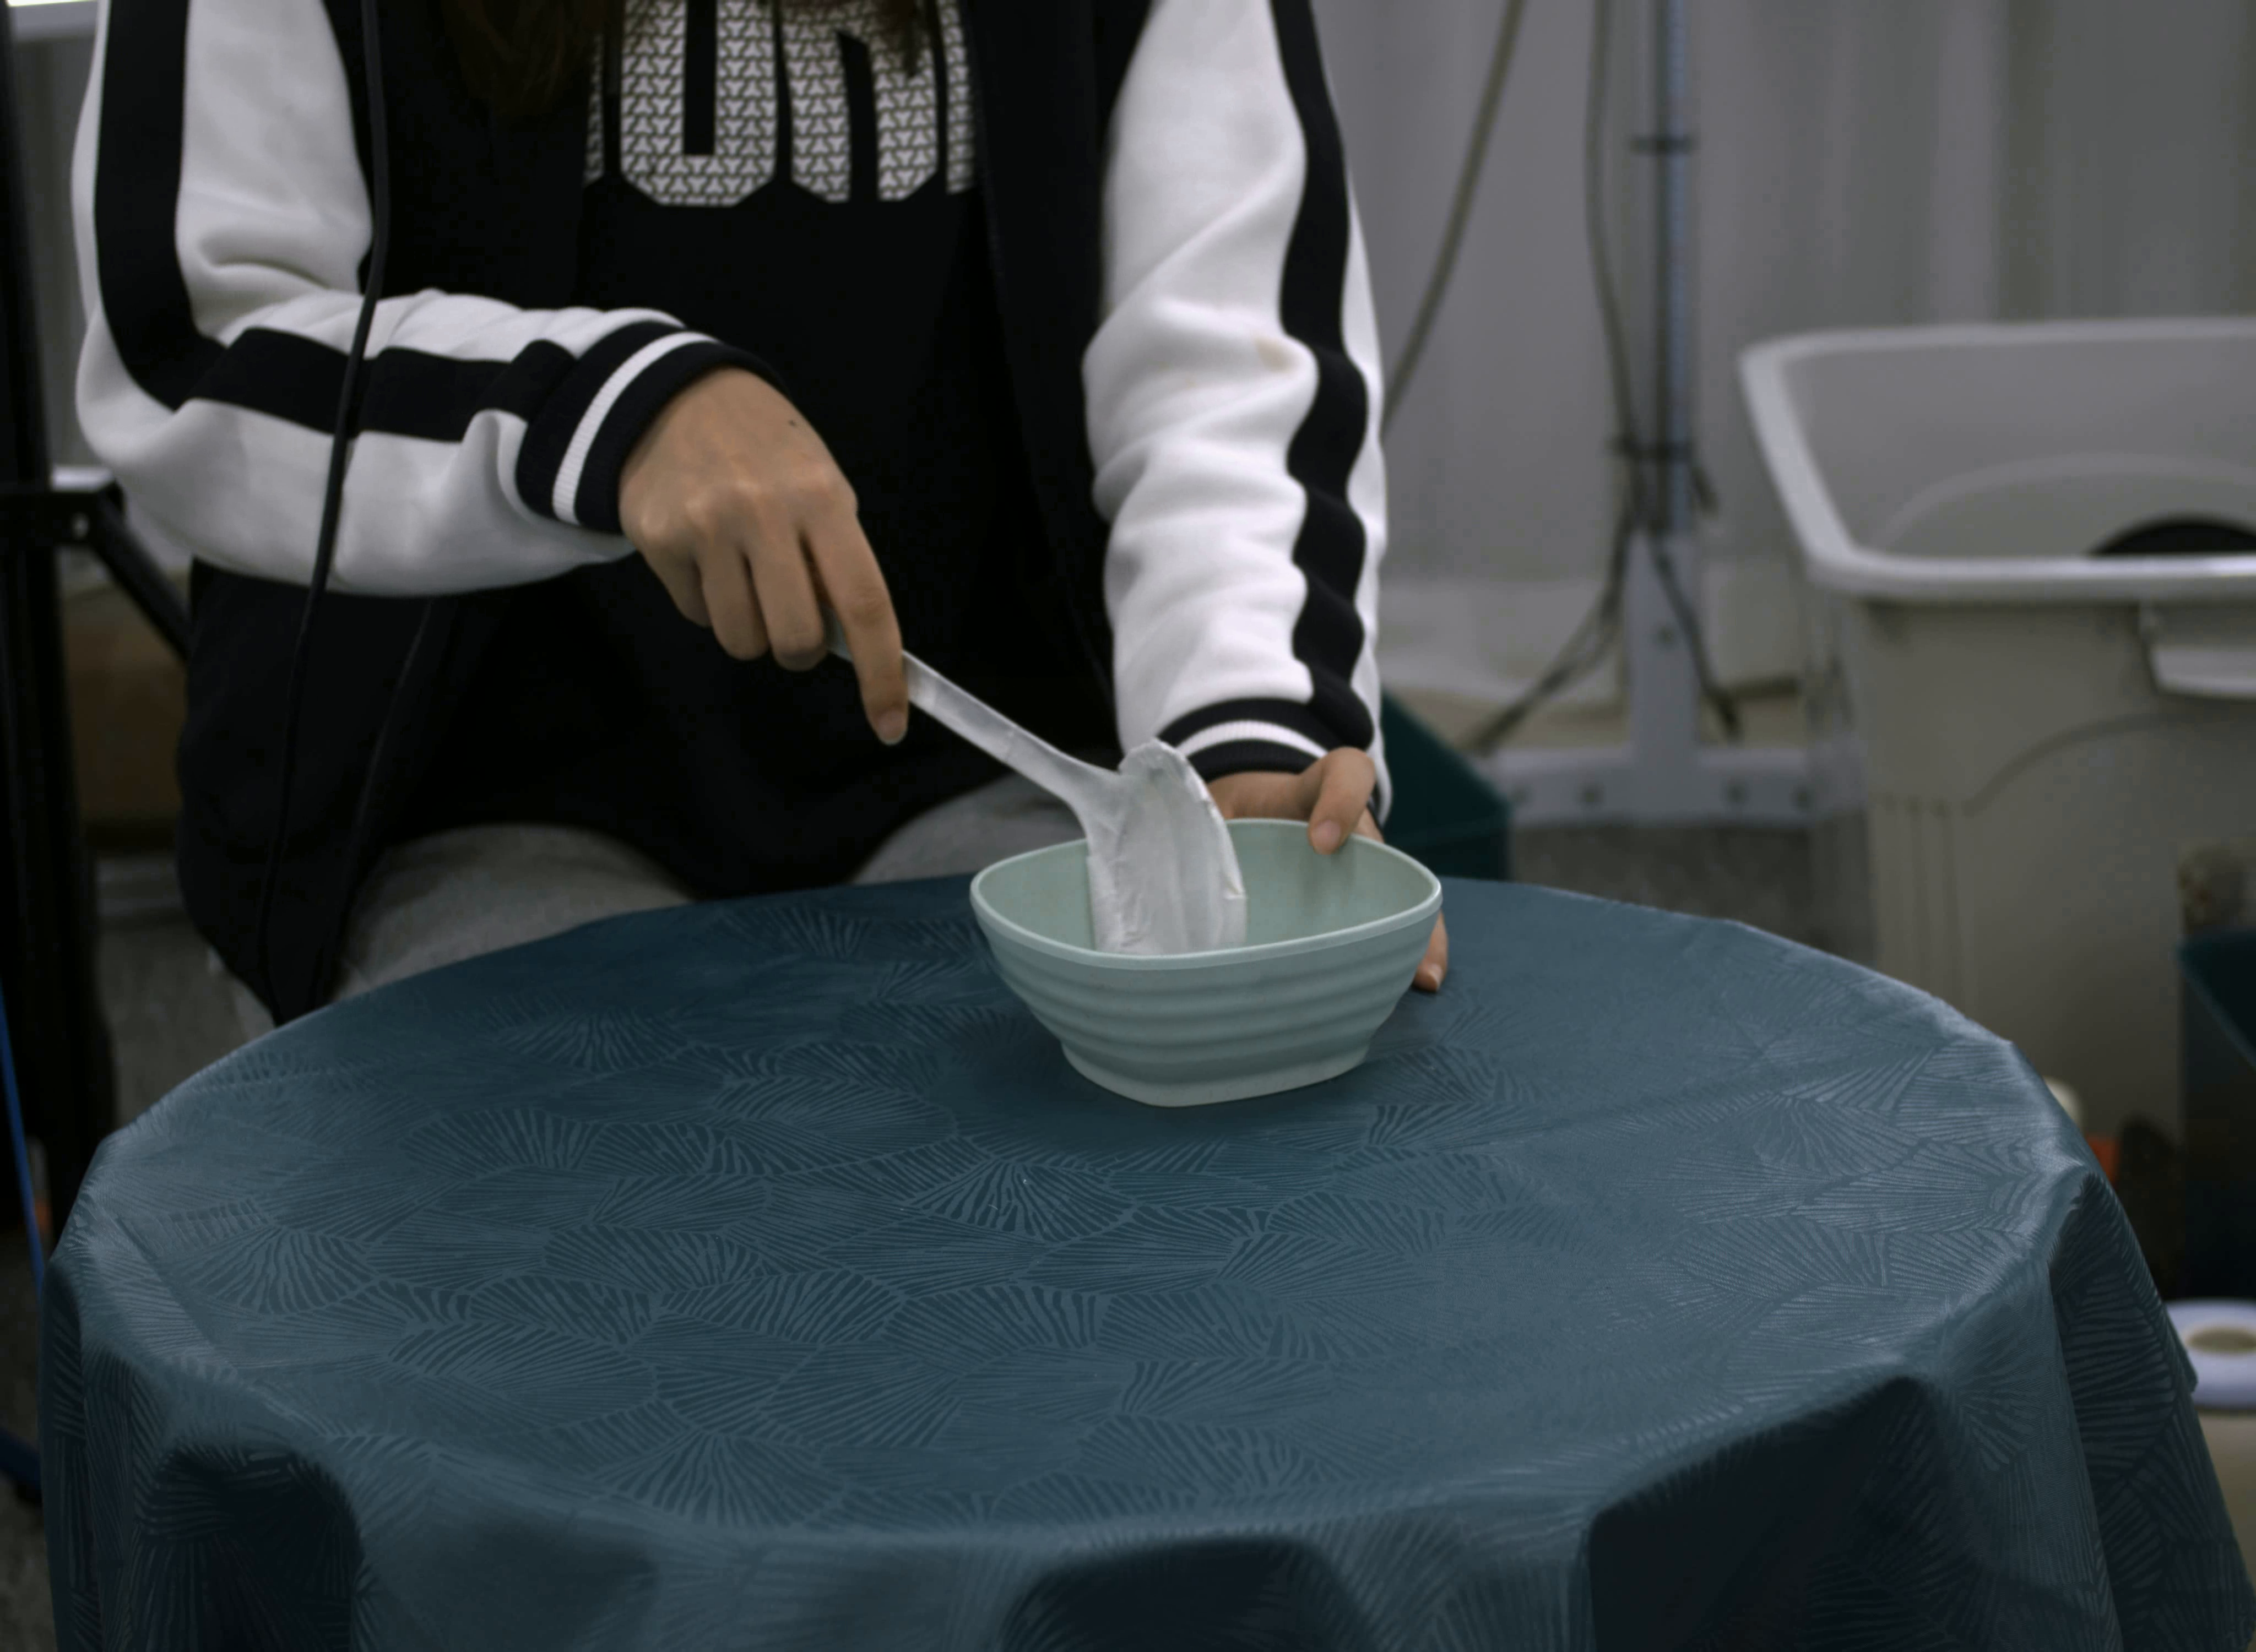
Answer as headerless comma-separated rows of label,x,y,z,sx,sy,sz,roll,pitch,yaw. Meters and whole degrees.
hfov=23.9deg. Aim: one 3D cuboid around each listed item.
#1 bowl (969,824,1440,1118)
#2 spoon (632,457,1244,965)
bowl,0.025,0.048,1.668,0.151,0.058,0.152,-3,16,-1
spoon,-0.066,-0.039,1.705,0.281,0.101,0.058,35,32,19
